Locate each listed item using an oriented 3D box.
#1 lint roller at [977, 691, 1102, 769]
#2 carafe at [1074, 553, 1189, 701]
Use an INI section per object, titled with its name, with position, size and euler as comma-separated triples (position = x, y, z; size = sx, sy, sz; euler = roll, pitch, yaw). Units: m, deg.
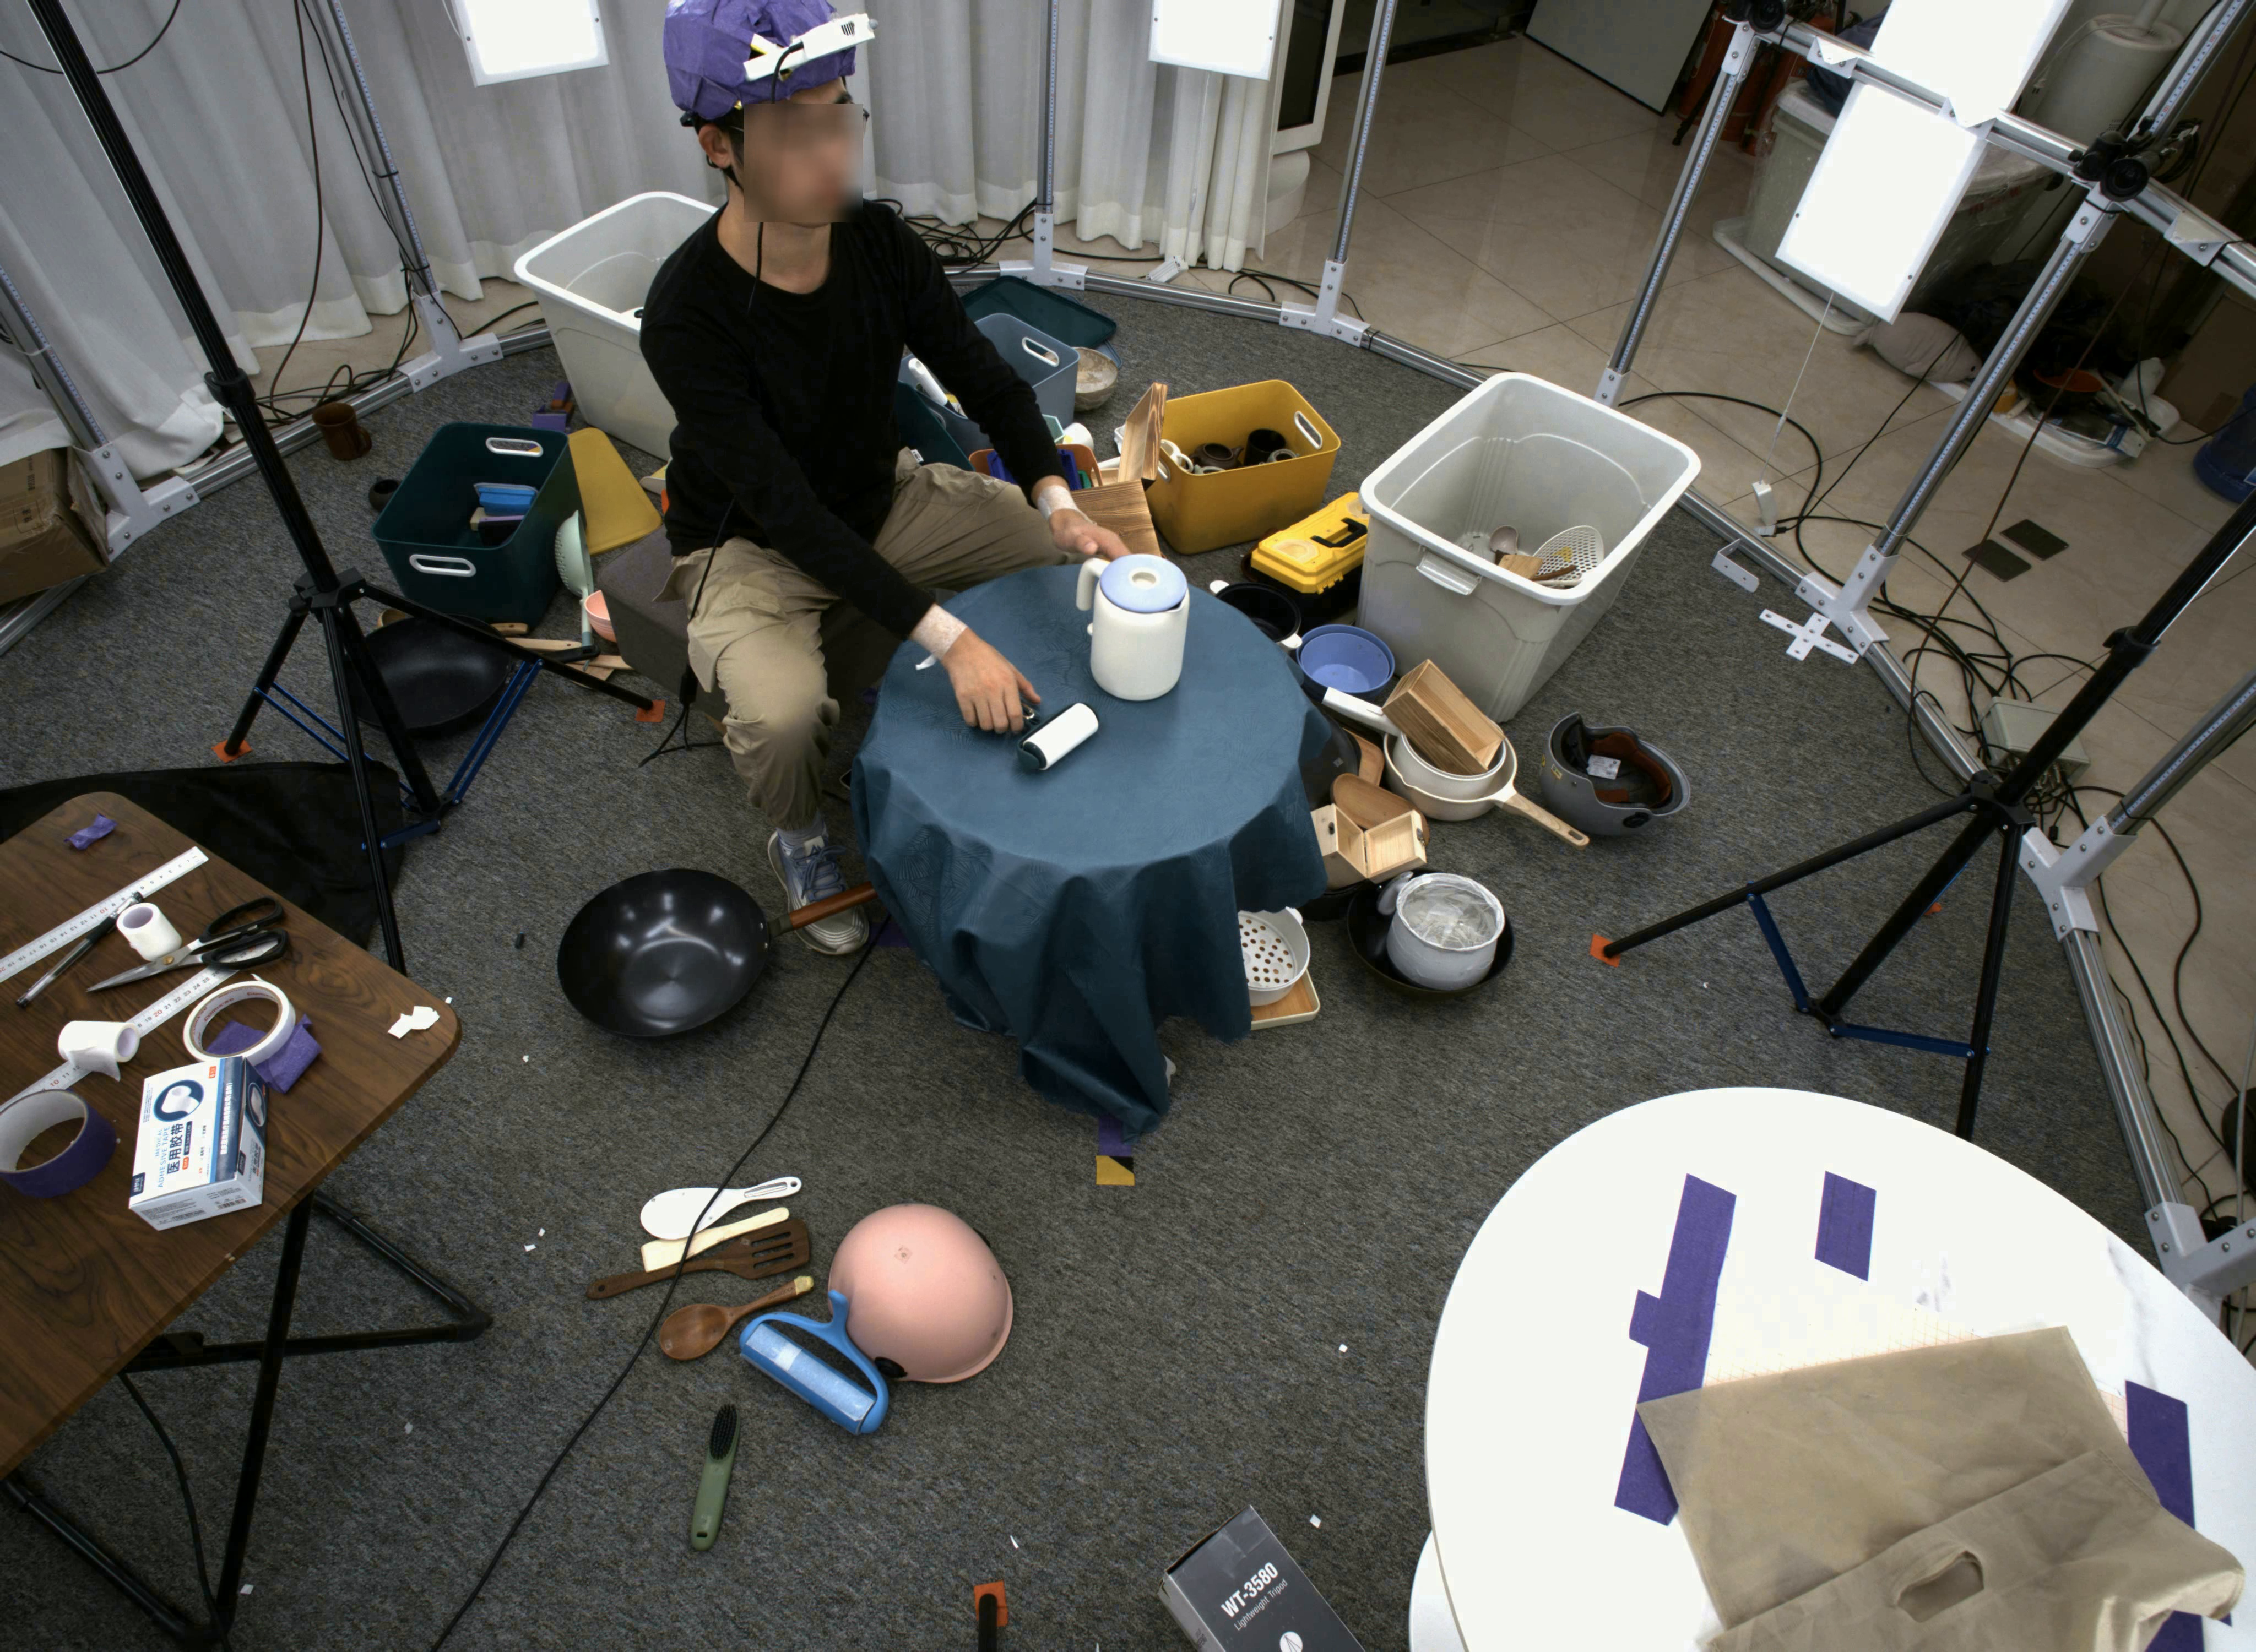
[lint roller]
position = -0.142, -0.157, 1.770
size = 0.182, 0.047, 0.136
euler = 34, 55, 27
[carafe]
position = -0.003, -0.291, 1.812
size = 0.194, 0.178, 0.133
euler = 35, 55, 26
